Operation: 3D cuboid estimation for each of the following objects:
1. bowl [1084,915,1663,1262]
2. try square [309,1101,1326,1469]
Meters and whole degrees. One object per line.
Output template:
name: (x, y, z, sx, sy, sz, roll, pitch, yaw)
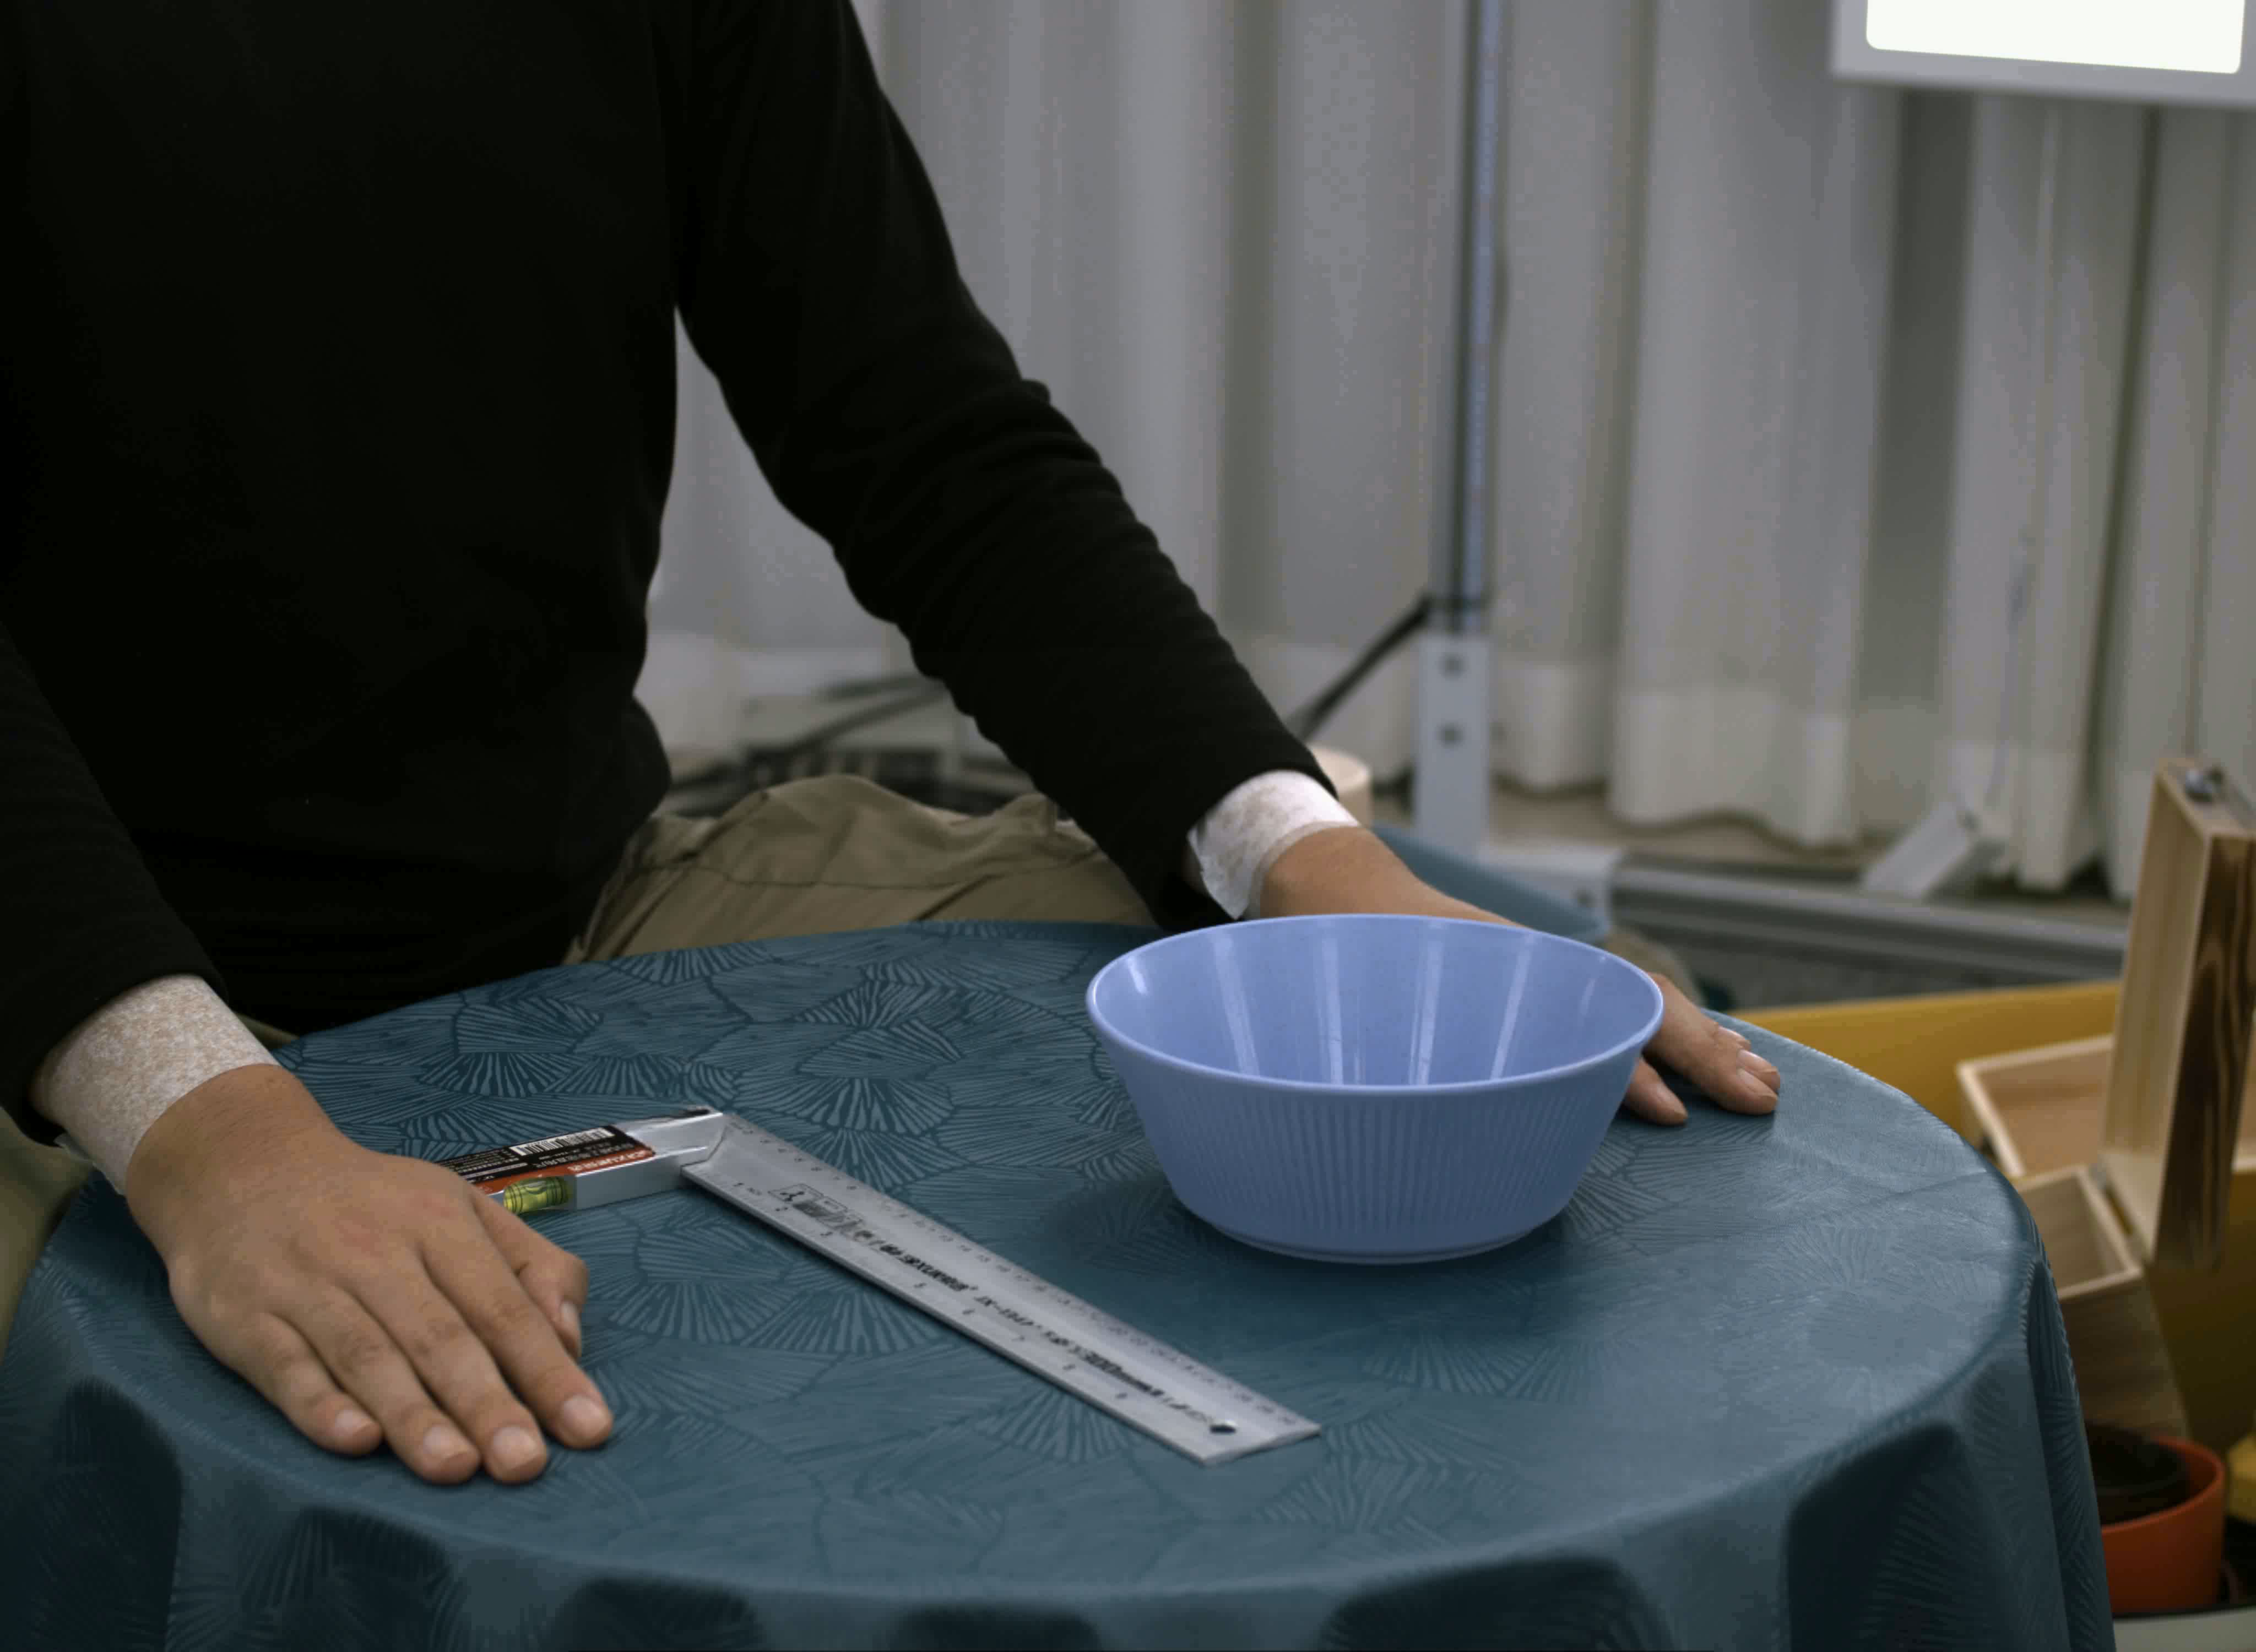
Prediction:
bowl: (0.074, 0.082, 1.602, 0.175, 0.071, 0.175, 0, 16, 0)
try square: (-0.097, 0.142, 1.509, 0.153, 0.016, 0.308, -15, 22, -33)
